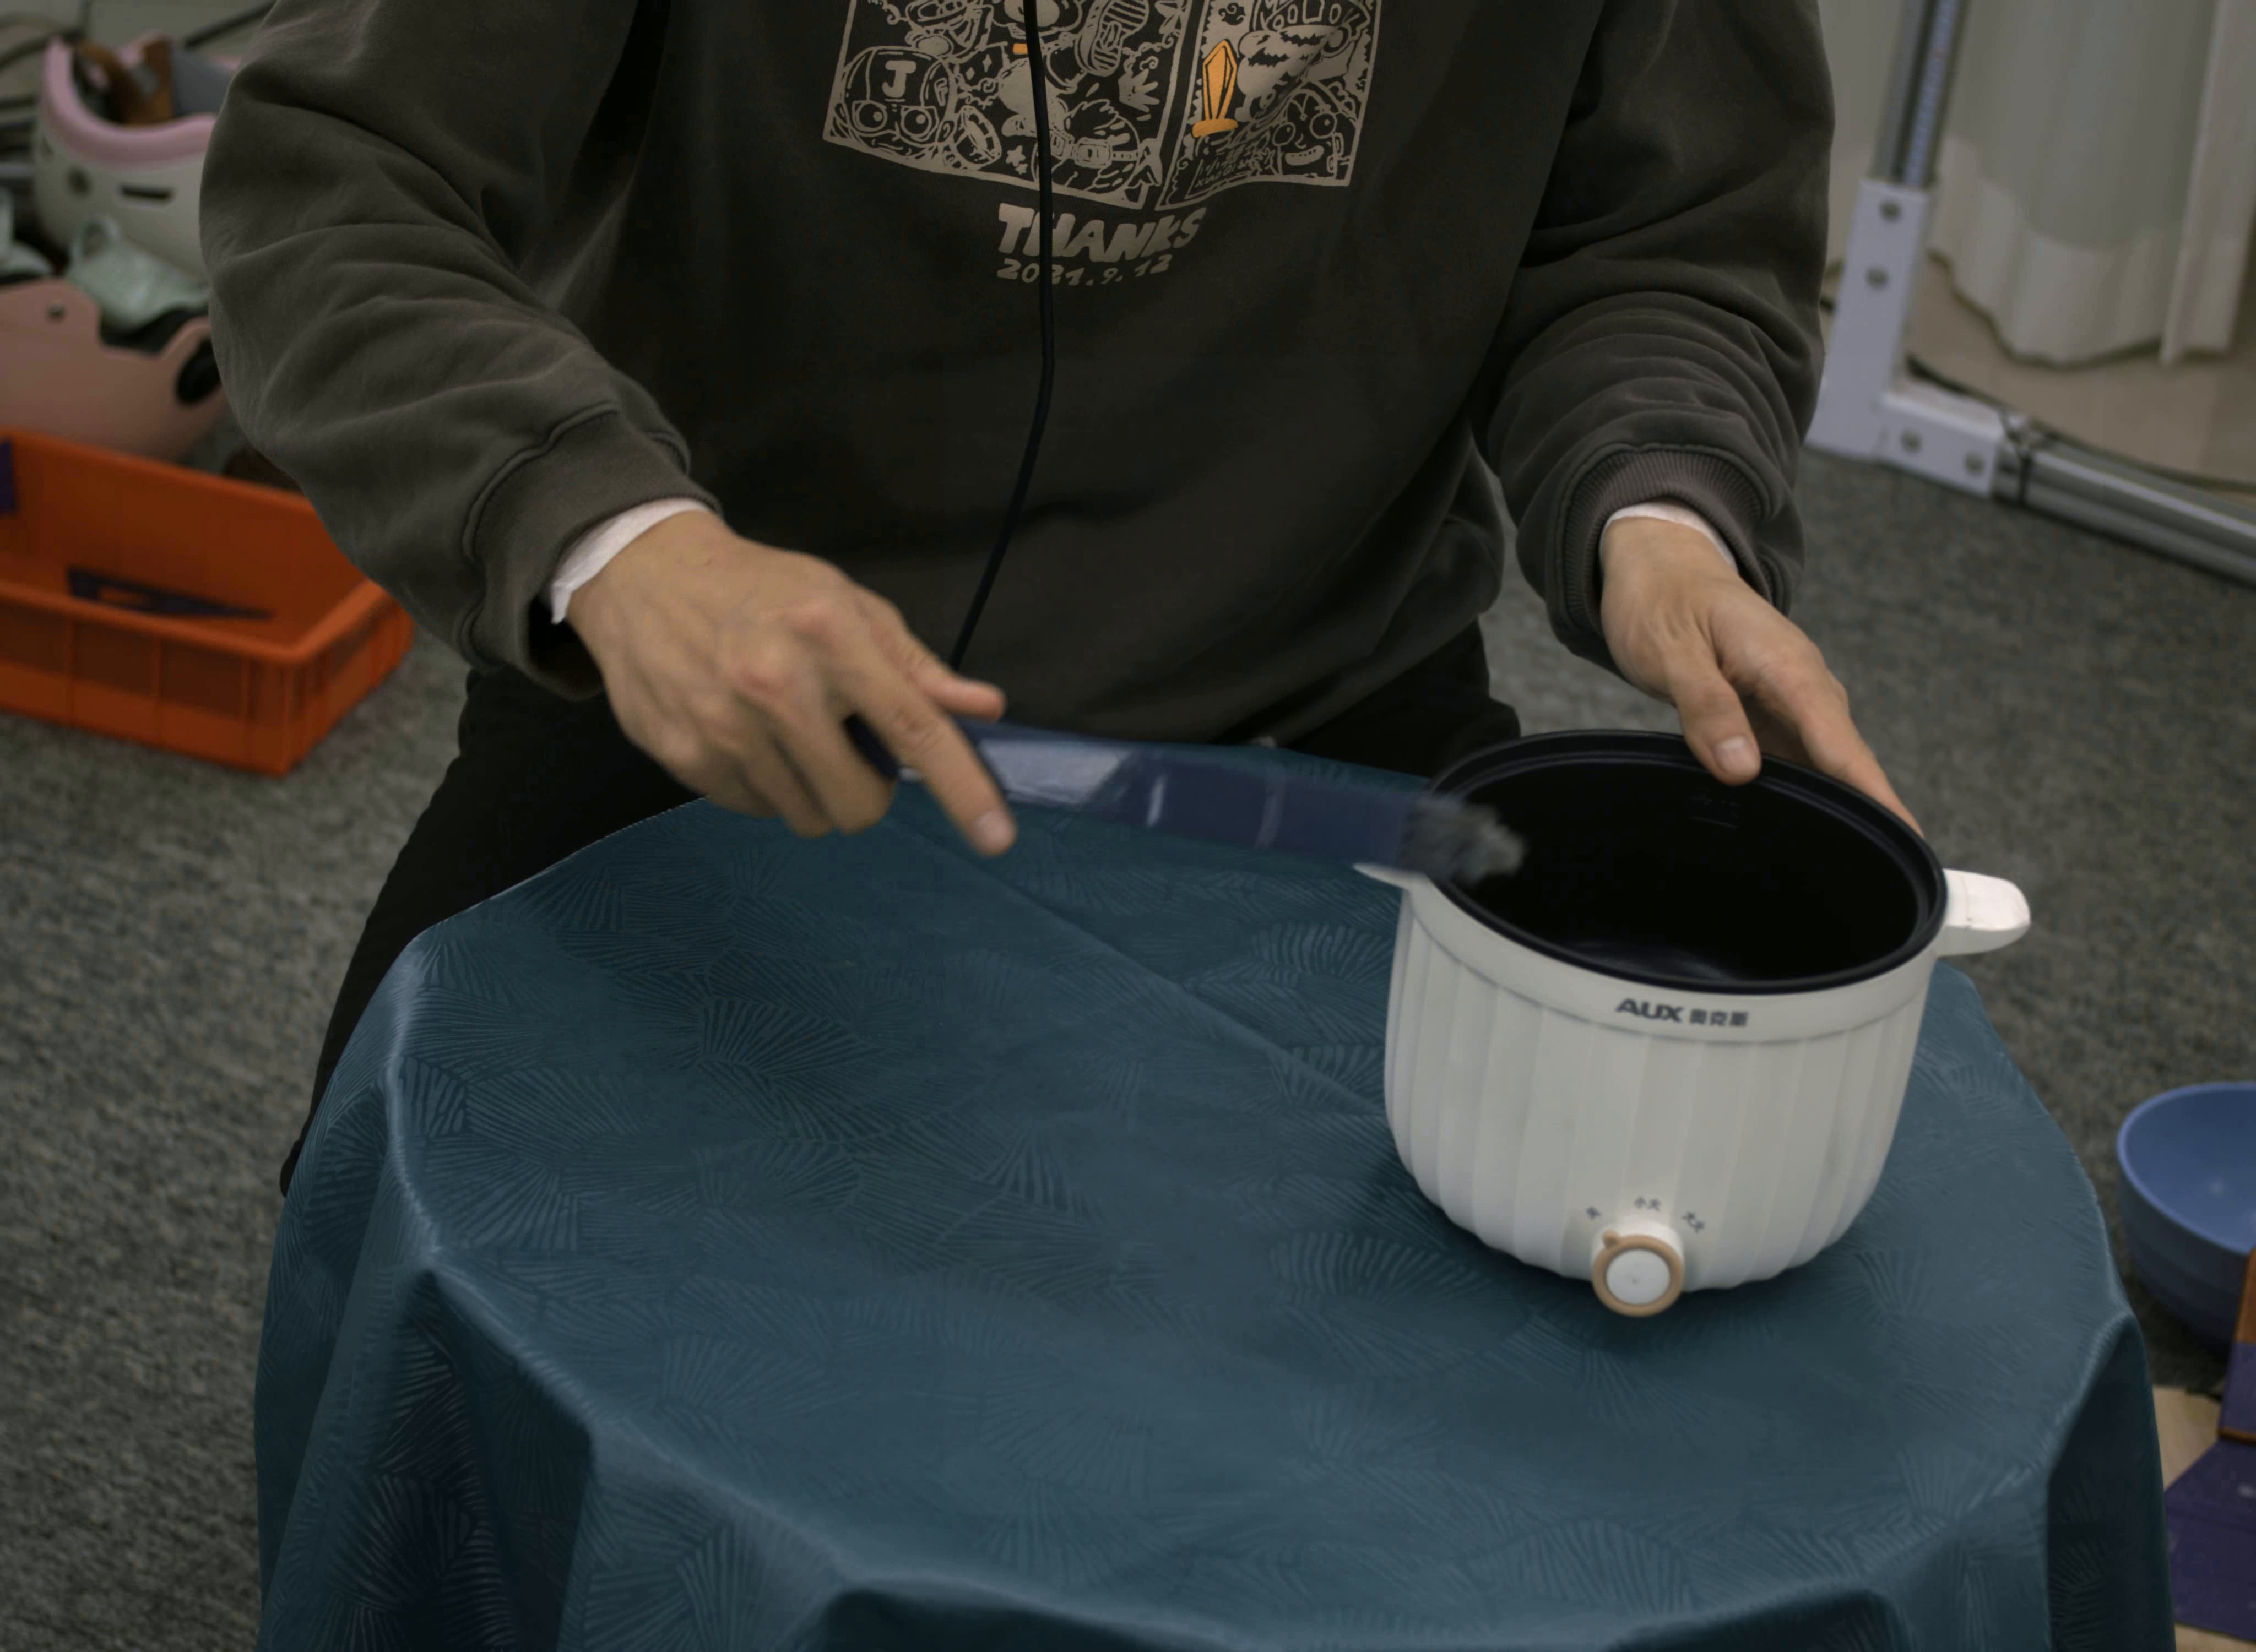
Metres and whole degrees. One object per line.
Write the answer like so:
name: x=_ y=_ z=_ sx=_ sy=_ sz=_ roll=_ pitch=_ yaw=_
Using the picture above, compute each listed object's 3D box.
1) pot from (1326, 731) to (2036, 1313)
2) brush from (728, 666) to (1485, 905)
pot: x=0.178 y=0.069 z=1.797 sx=0.240 sy=0.142 sz=0.191 roll=6 pitch=23 yaw=1
brush: x=-0.017 y=-0.013 z=1.687 sx=0.274 sy=0.033 sz=0.095 roll=11 pitch=3 yaw=22
